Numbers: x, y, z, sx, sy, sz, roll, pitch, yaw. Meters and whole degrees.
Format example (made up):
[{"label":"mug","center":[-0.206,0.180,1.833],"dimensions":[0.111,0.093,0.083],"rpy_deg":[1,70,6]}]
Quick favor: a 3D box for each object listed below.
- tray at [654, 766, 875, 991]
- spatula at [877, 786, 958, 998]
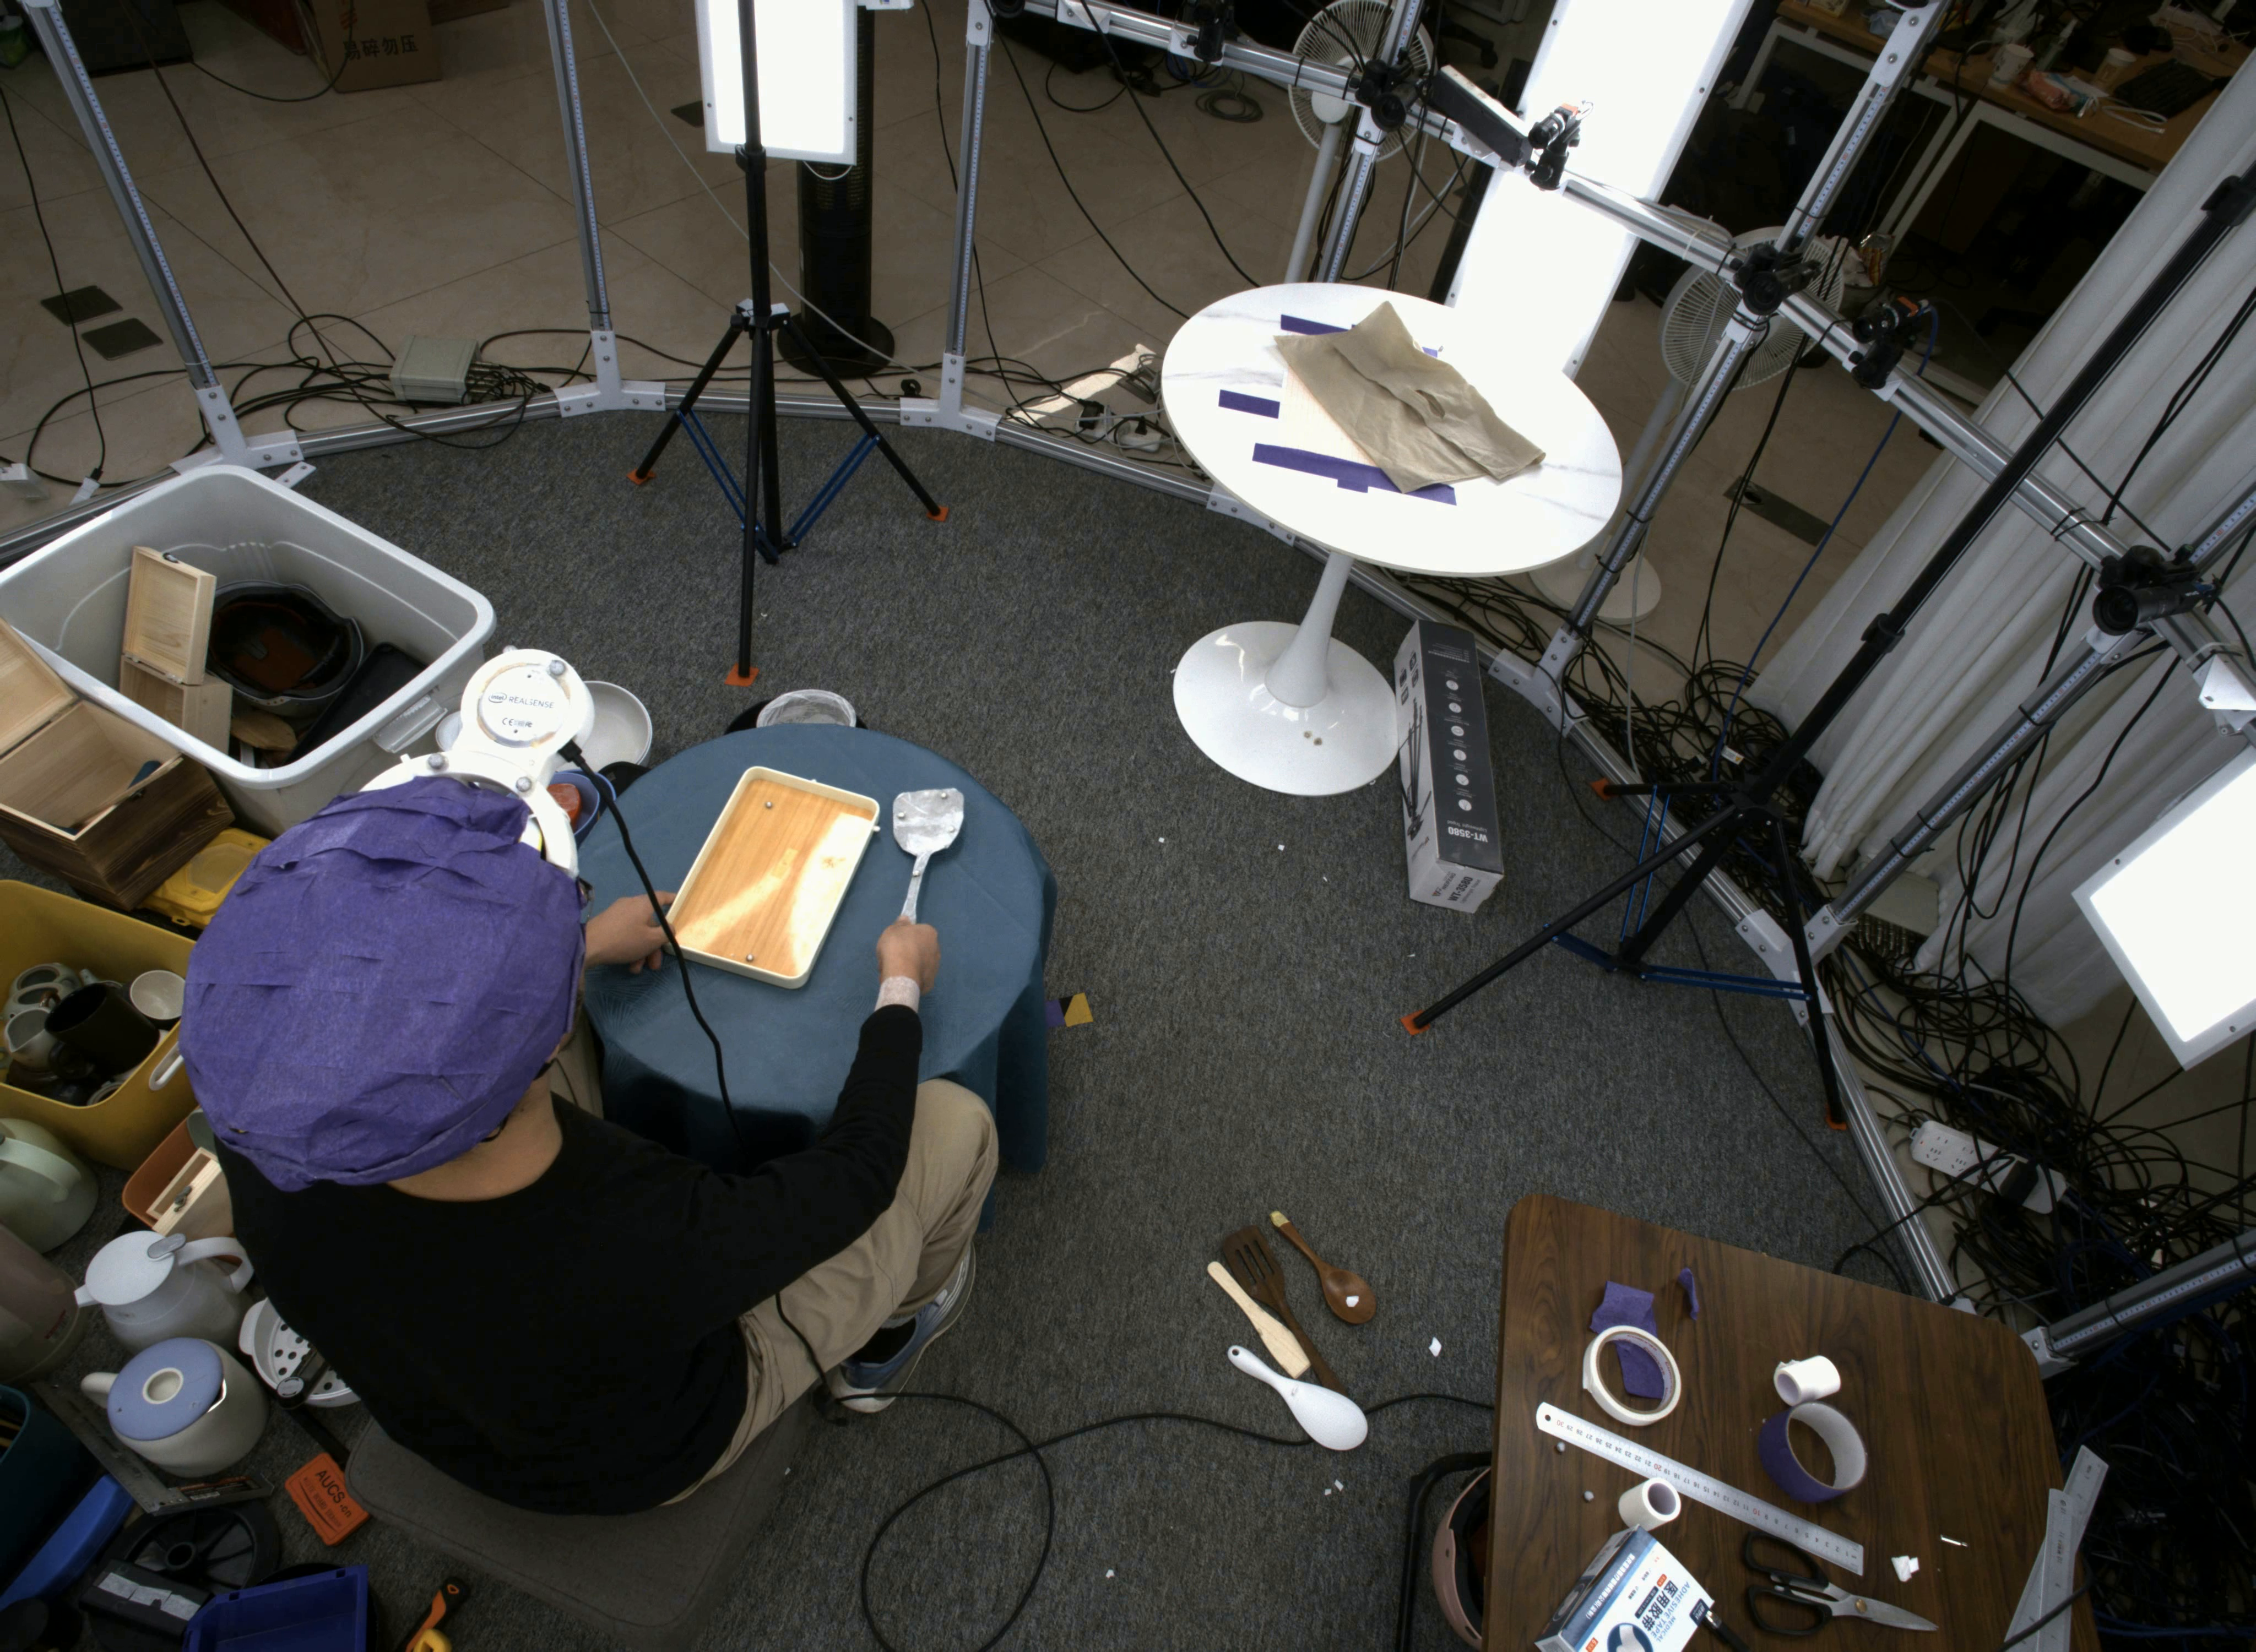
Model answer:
[{"label":"tray","center":[-0.457,0.059,1.649],"dimensions":[0.190,0.028,0.296],"rpy_deg":[17,52,-2]},{"label":"spatula","center":[-0.278,0.071,1.640],"dimensions":[0.097,0.046,0.357],"rpy_deg":[-1,37,2]}]
